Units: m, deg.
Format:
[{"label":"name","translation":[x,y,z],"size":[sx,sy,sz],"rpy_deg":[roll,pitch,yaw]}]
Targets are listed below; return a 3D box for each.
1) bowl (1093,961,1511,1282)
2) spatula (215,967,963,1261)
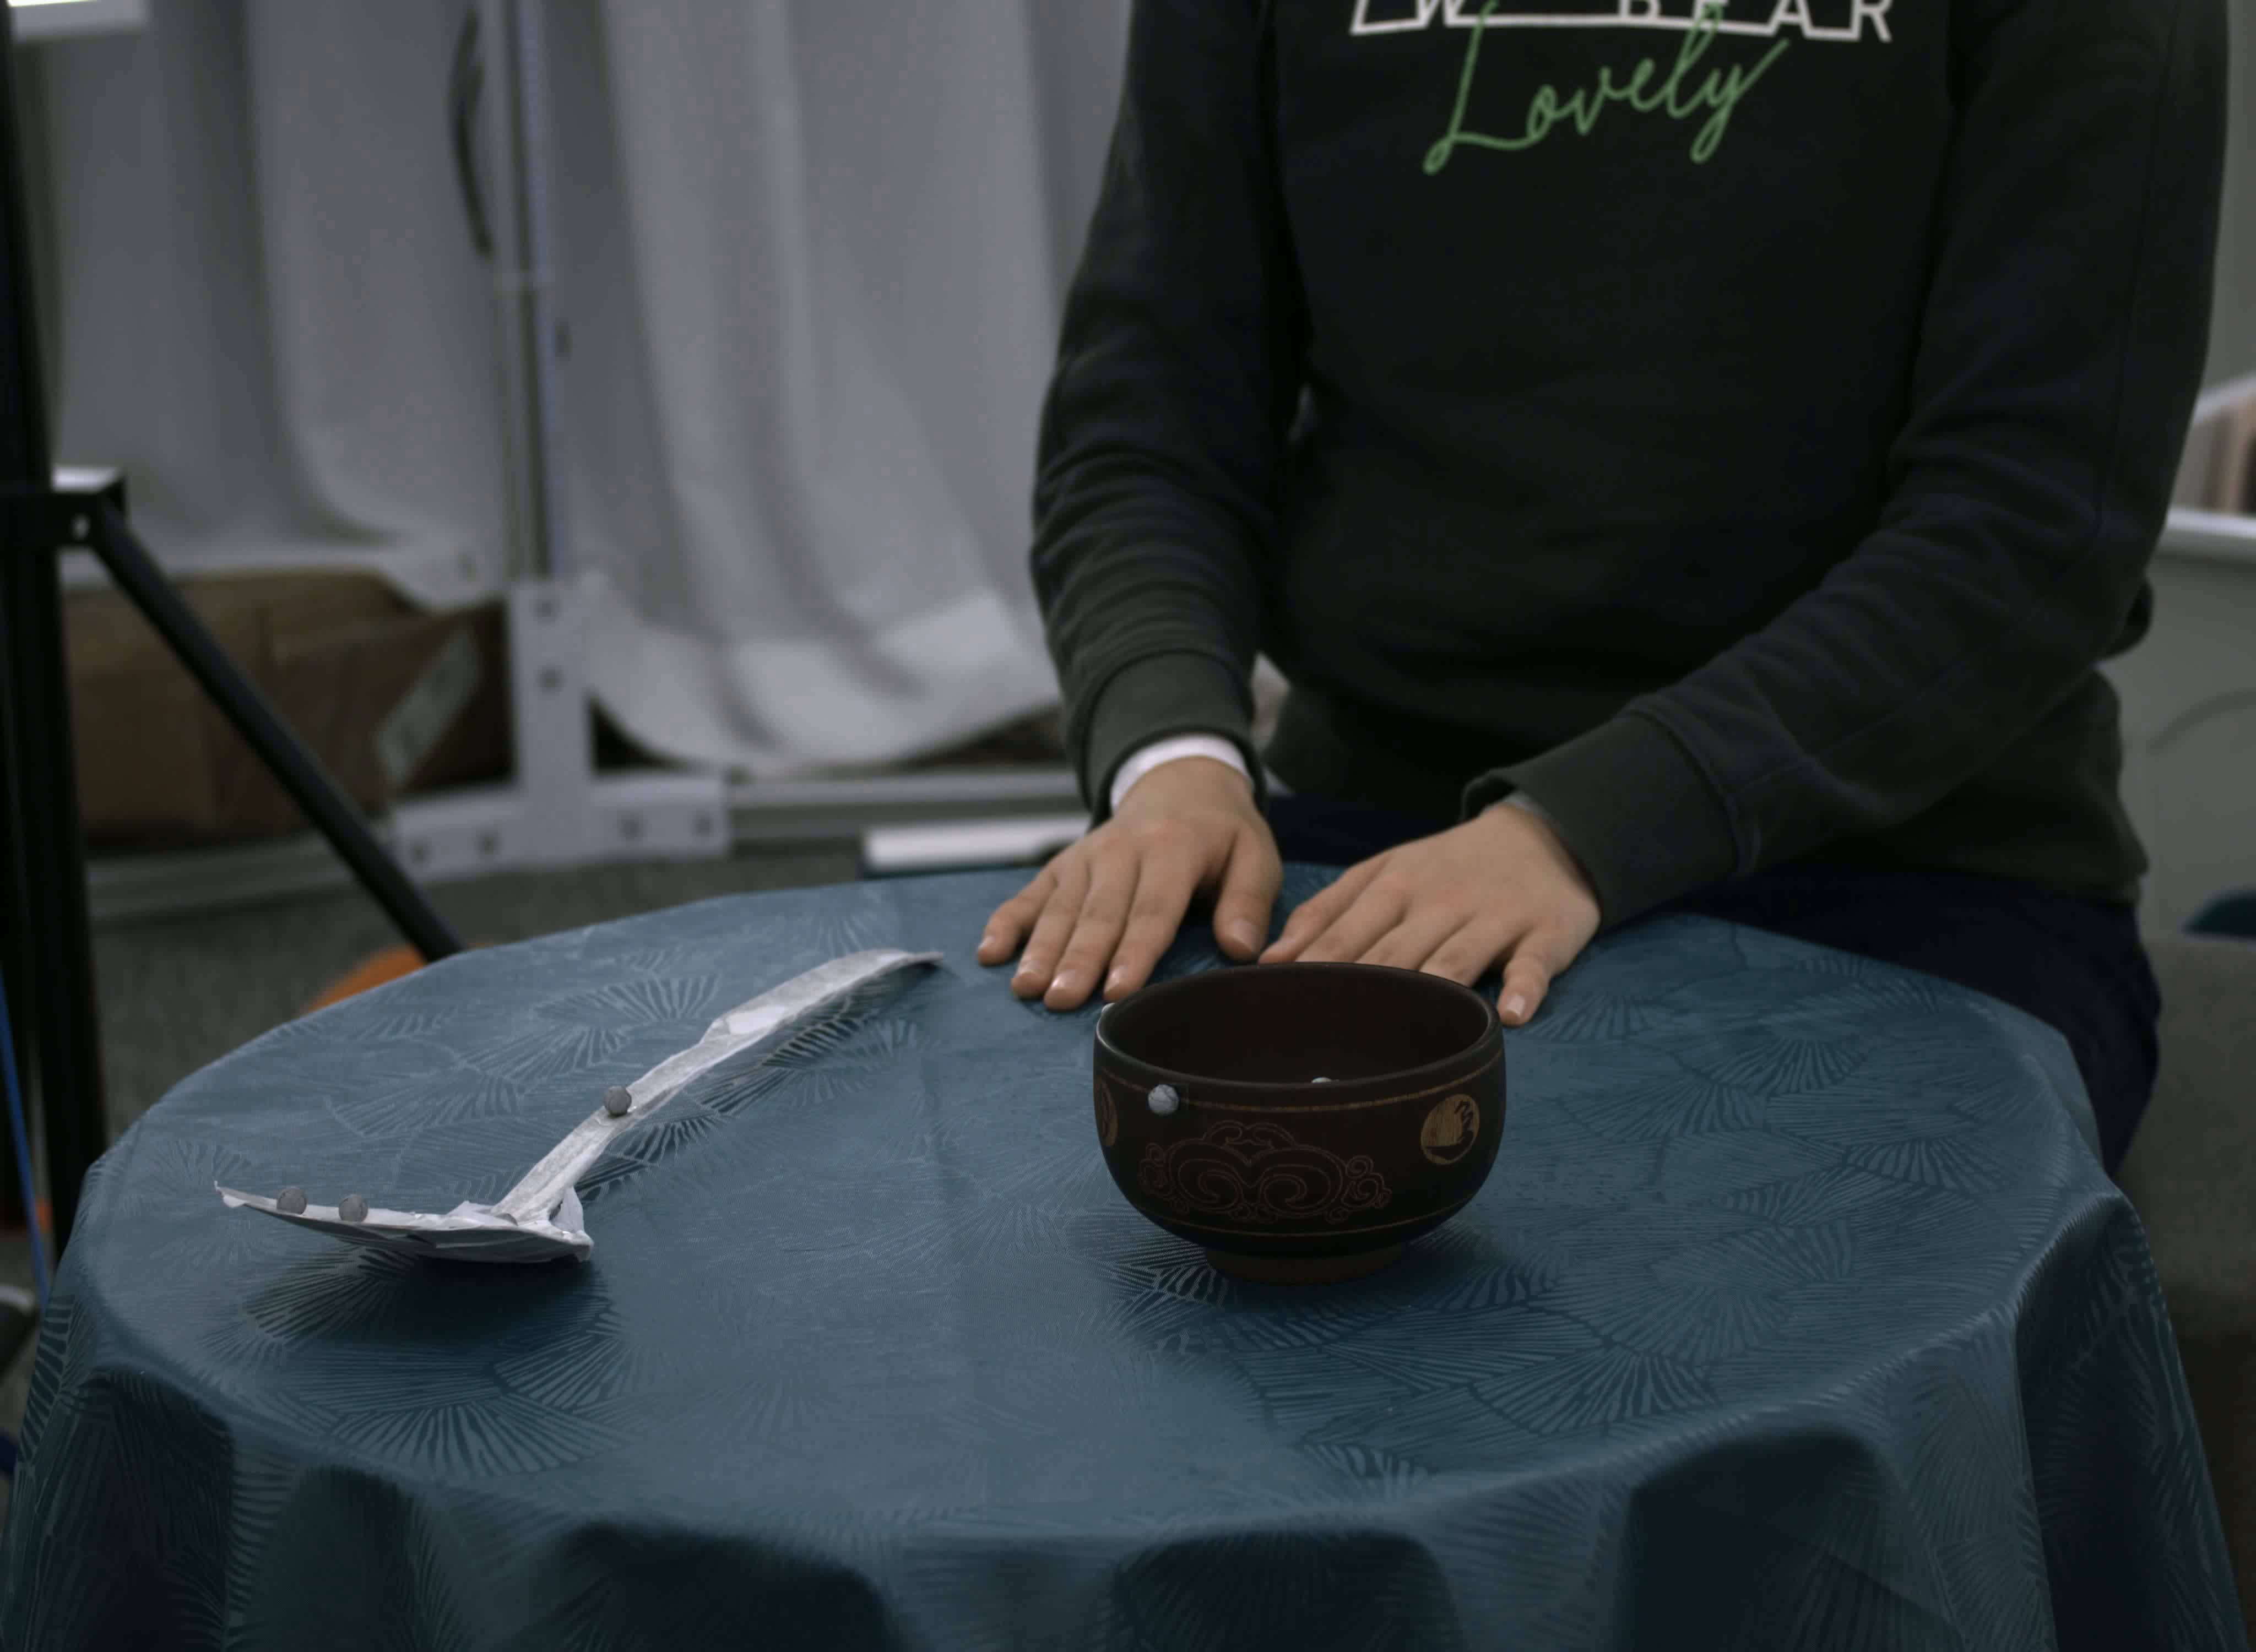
[{"label":"bowl","translation":[0.049,0.087,1.494],"size":[0.117,0.070,0.118],"rpy_deg":[-1,15,-1]},{"label":"spatula","translation":[-0.142,0.077,1.619],"size":[0.100,0.045,0.359],"rpy_deg":[3,17,25]}]
